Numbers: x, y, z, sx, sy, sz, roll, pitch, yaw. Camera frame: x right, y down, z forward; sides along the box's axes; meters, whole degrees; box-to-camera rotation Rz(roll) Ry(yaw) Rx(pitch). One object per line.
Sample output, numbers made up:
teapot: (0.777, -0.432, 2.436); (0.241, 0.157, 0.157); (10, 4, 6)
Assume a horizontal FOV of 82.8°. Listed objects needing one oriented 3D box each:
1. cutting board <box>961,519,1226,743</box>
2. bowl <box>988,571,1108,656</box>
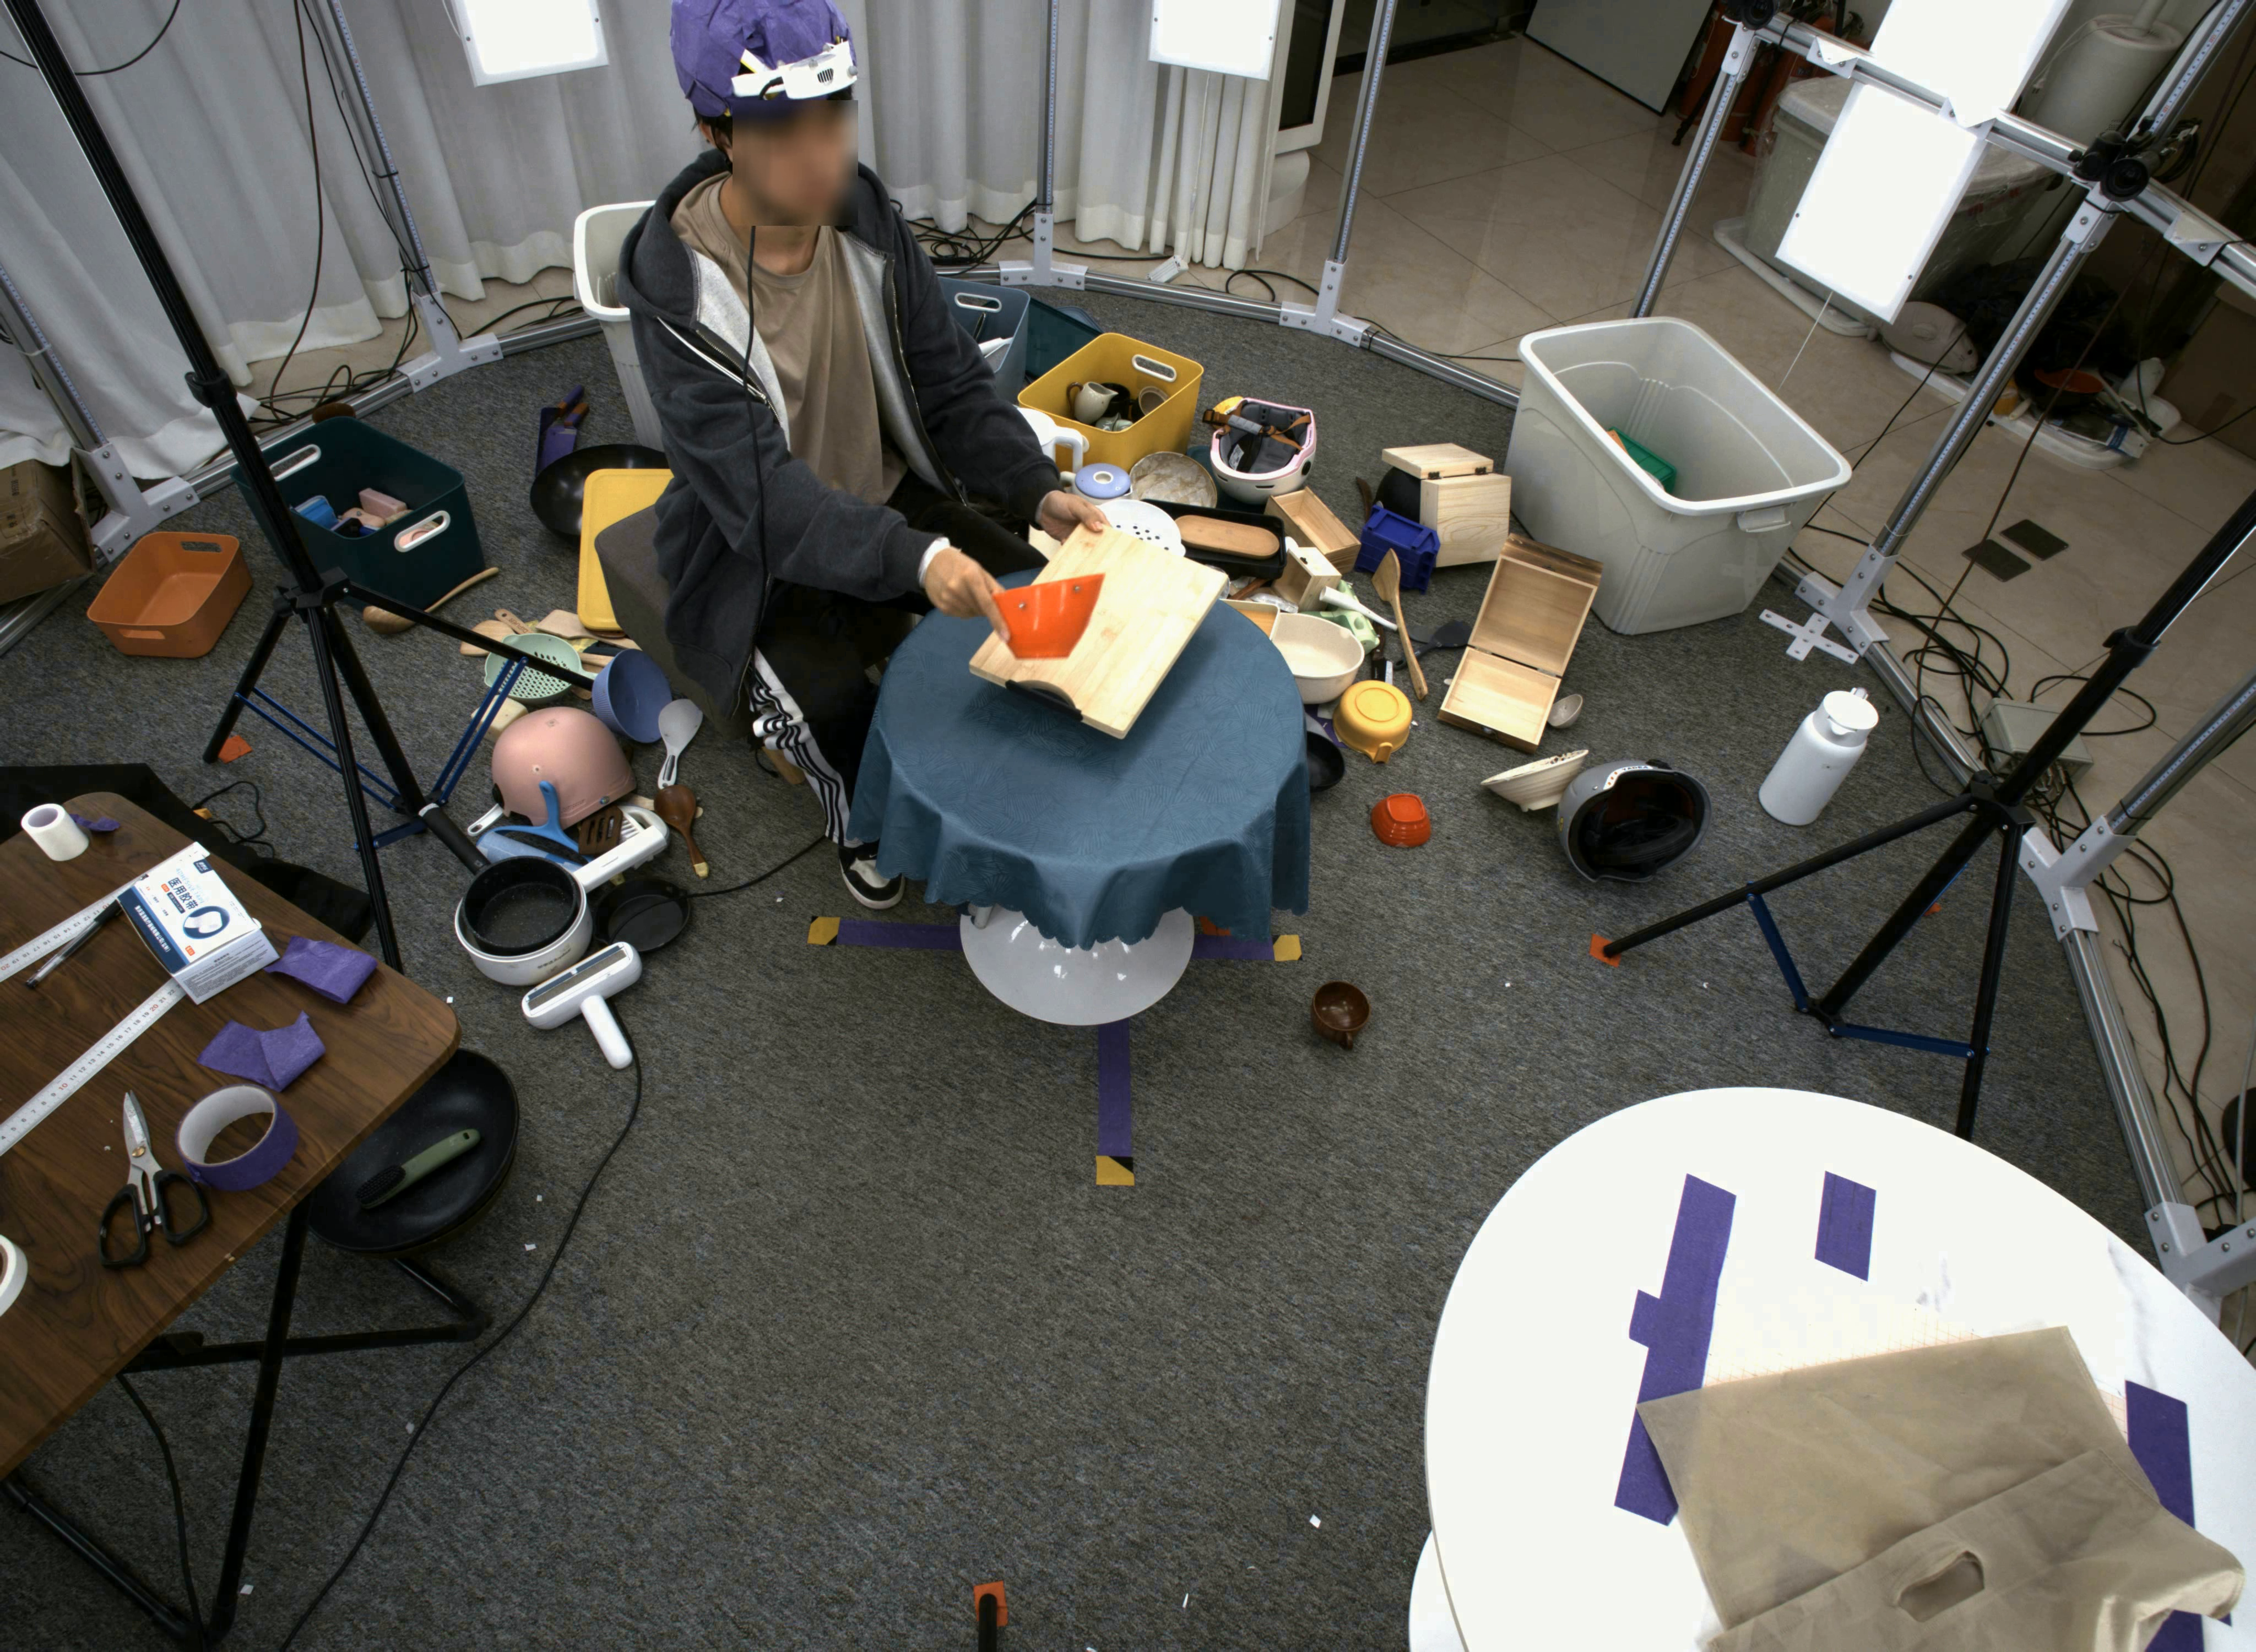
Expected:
cutting board: (-0.040, -0.285, 1.822); (0.252, 0.023, 0.354); (23, 55, 13)
bowl: (-0.097, -0.264, 1.594); (0.148, 0.104, 0.148); (-1, 6, 0)
